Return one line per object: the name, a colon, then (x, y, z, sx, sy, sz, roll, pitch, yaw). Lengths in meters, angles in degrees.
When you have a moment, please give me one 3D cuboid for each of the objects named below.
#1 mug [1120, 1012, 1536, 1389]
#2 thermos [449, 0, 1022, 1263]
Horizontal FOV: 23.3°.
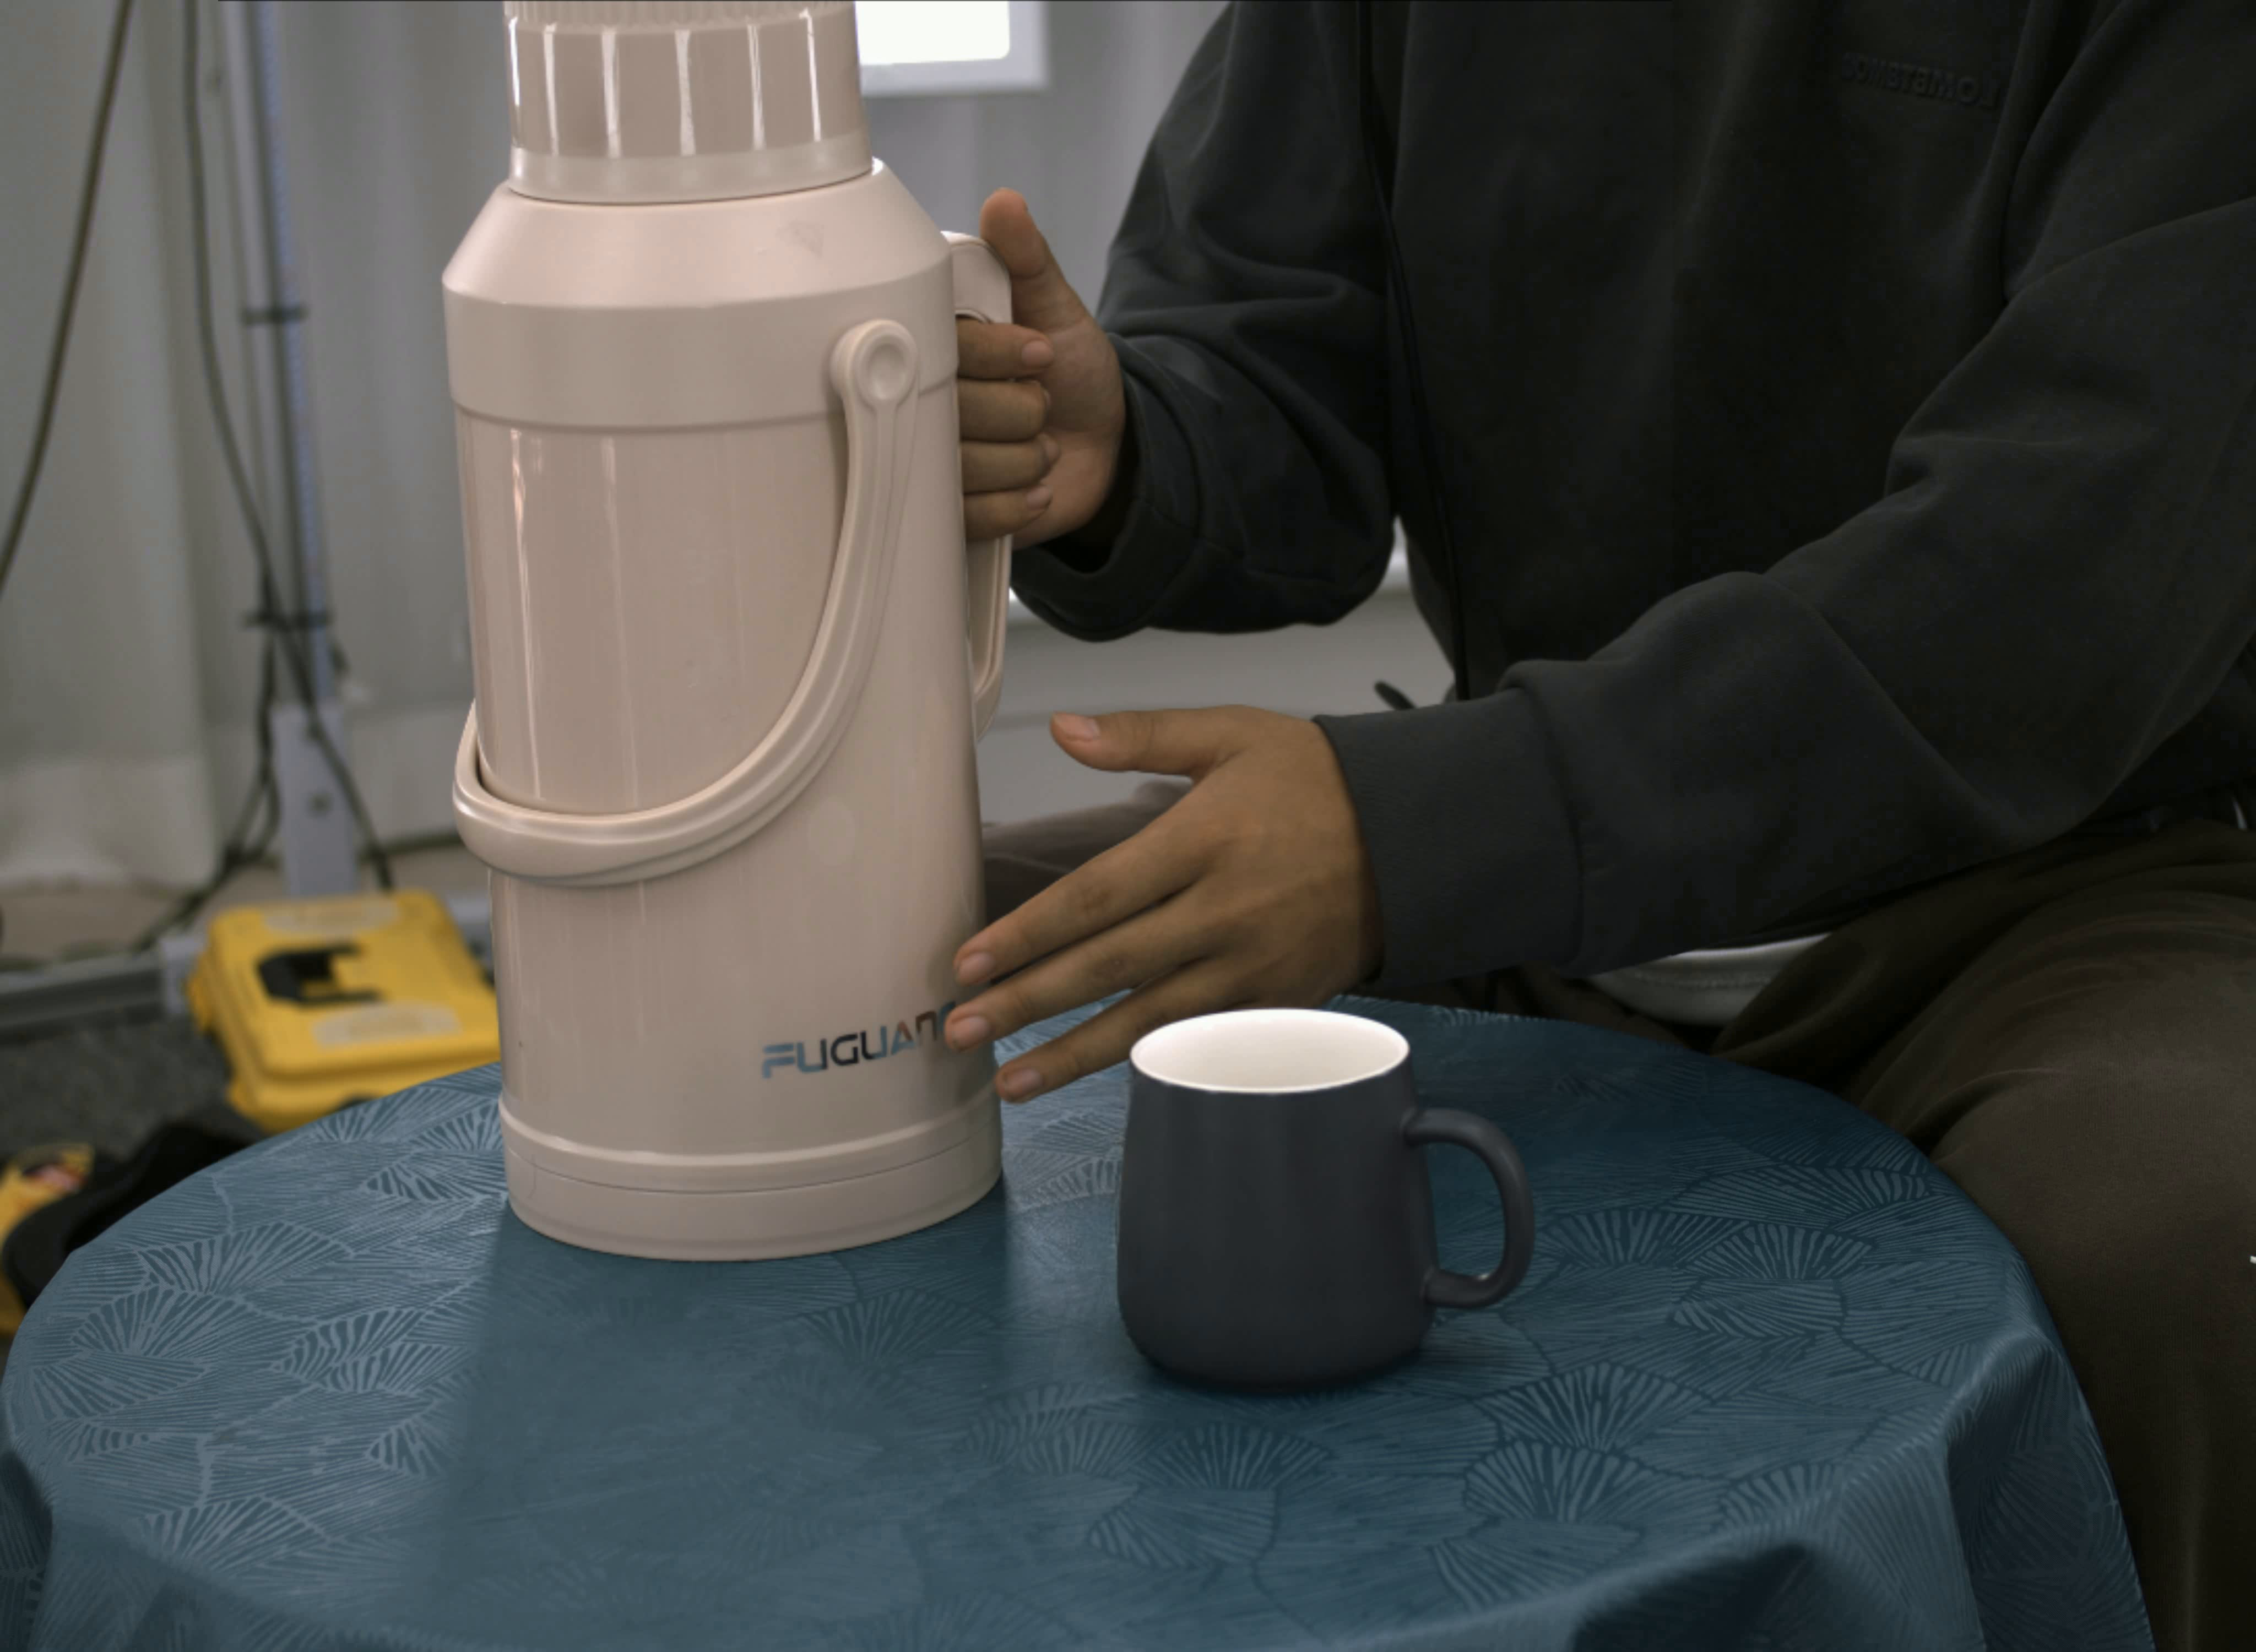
mug: (0.057, 0.108, 1.559, 0.123, 0.089, 0.094, 3, 15, 23)
thermos: (-0.114, -0.082, 1.707, 0.206, 0.405, 0.176, -16, 18, -40)
